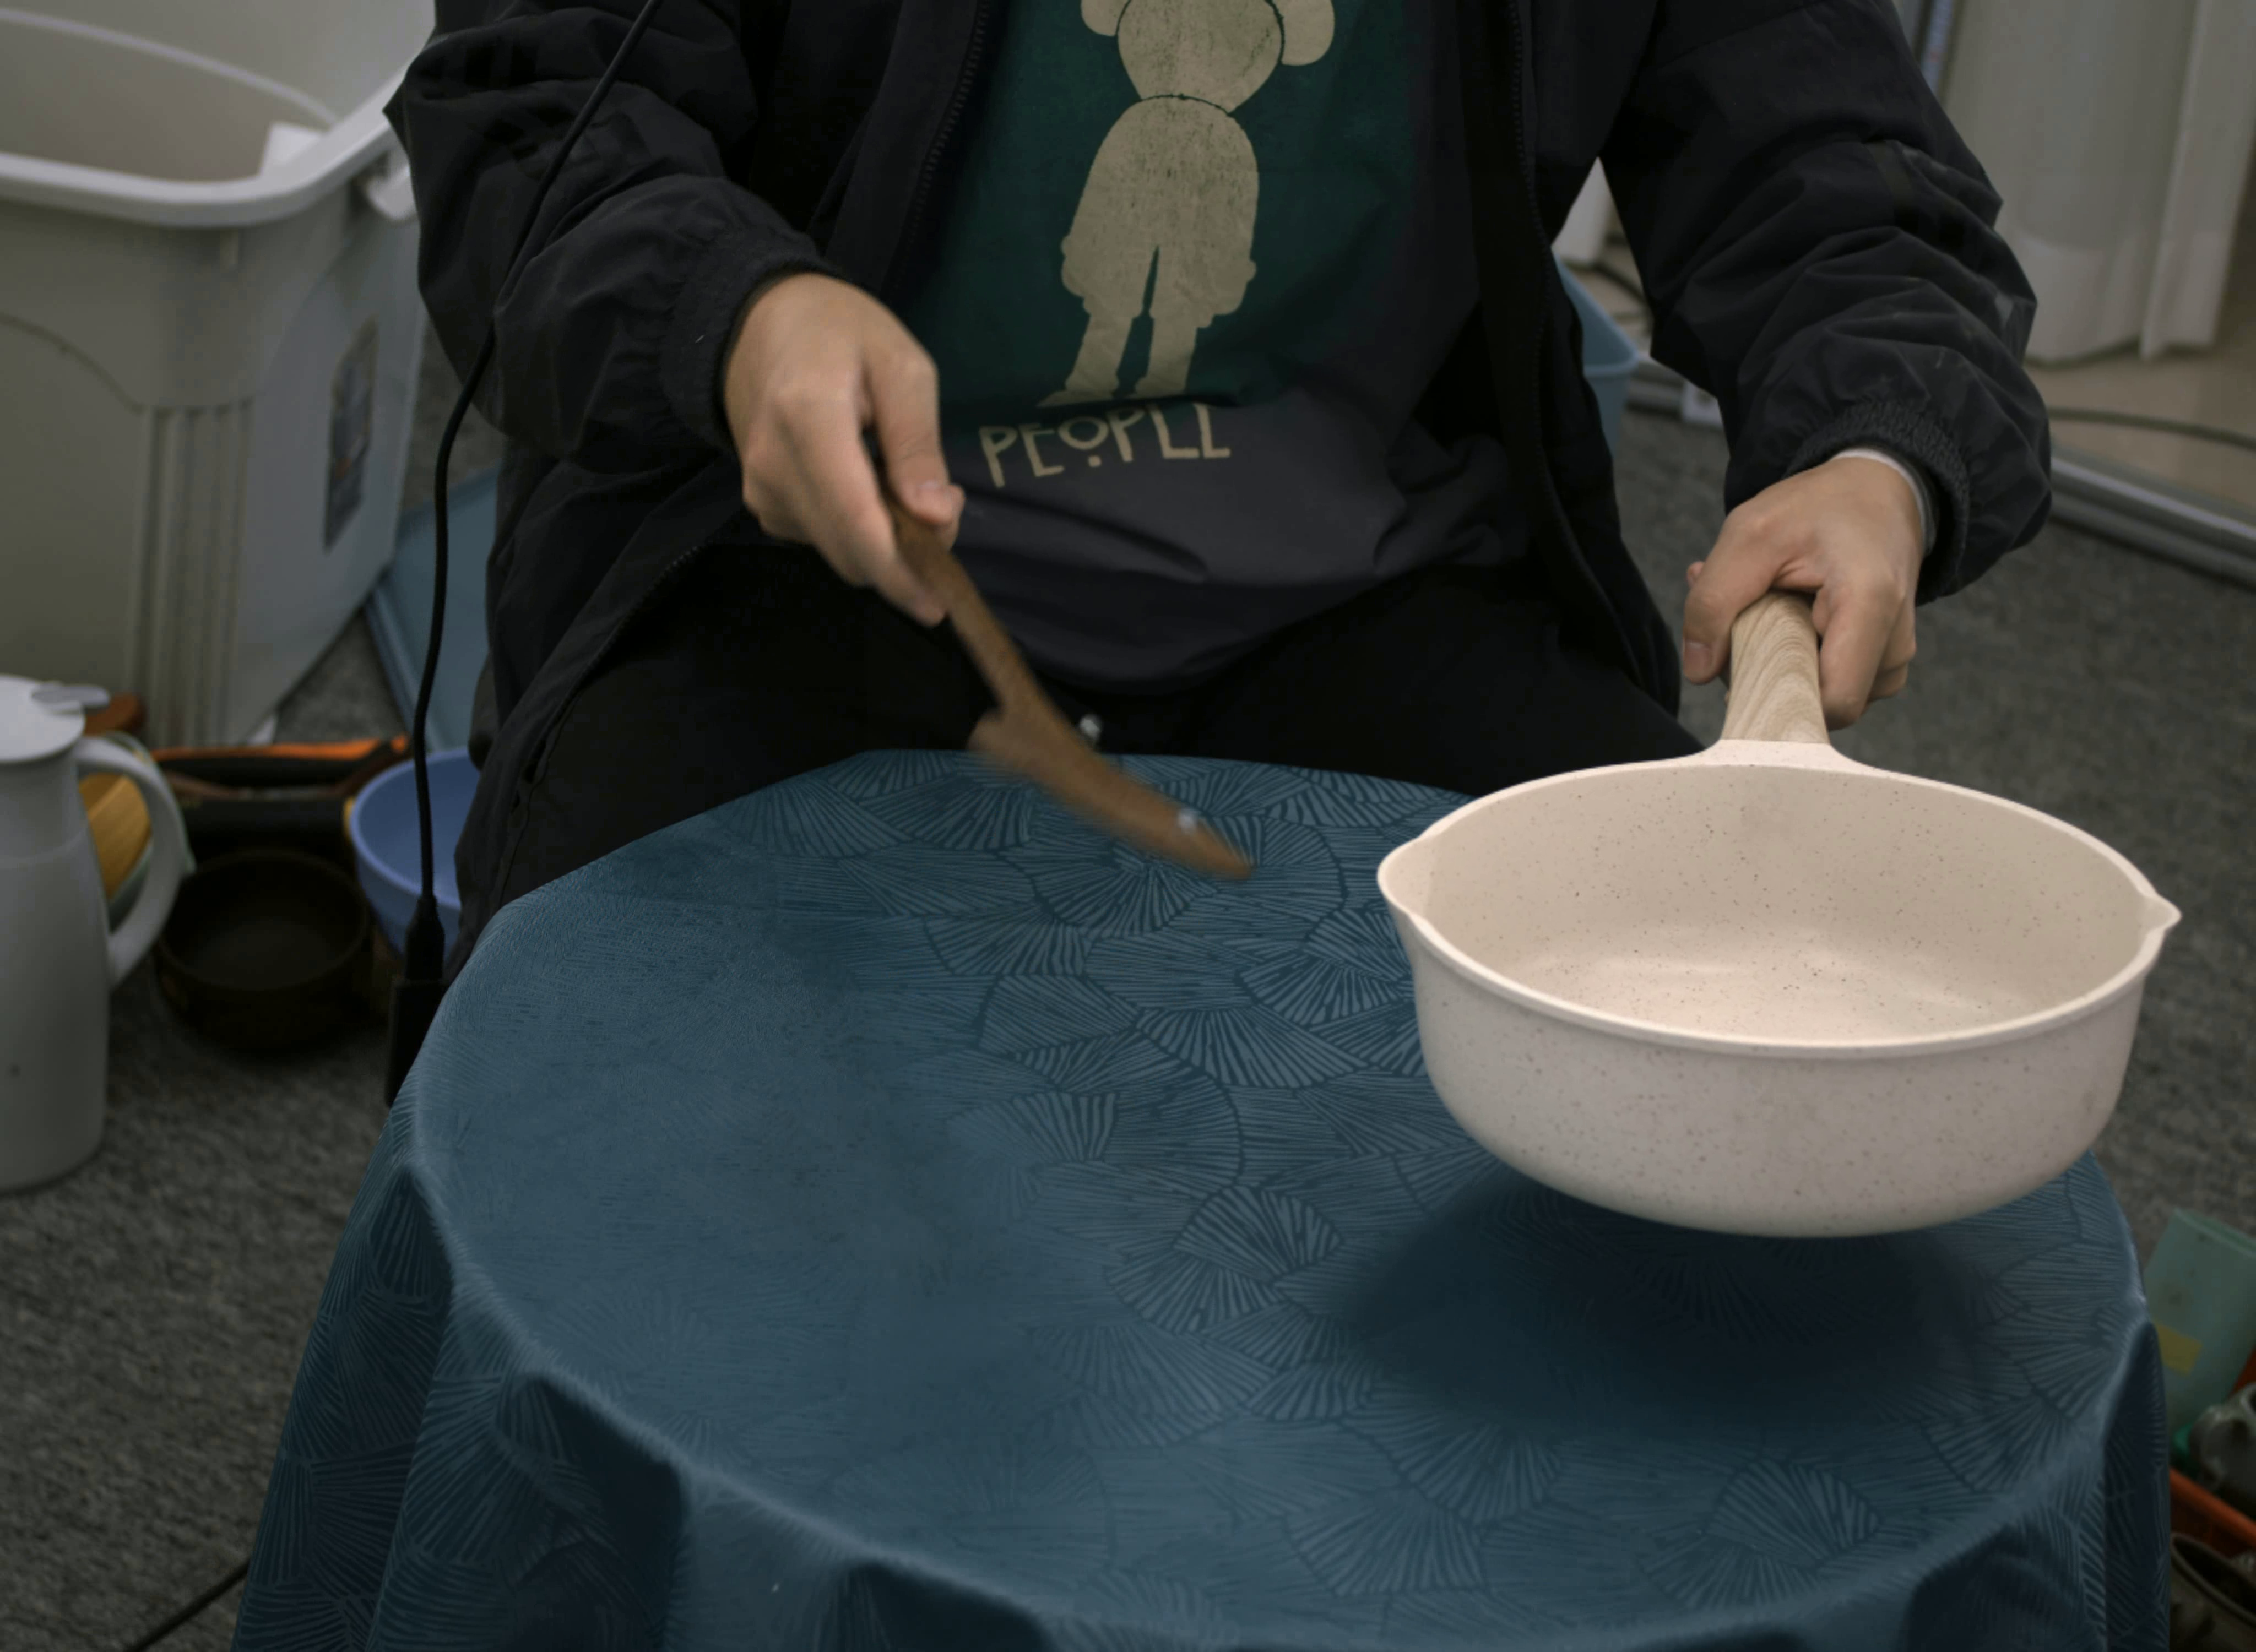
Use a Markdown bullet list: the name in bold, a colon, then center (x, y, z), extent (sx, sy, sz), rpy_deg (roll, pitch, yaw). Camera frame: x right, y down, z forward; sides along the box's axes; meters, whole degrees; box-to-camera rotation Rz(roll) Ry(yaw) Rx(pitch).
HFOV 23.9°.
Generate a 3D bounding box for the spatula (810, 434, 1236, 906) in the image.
- **spatula**: center (-0.055, -0.064, 1.841), extent (0.095, 0.016, 0.389), rpy_deg (21, 17, -26)

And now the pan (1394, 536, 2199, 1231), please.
- **pan**: center (0.228, 0.016, 1.843), extent (0.263, 0.102, 0.436), rpy_deg (1, 22, 6)
